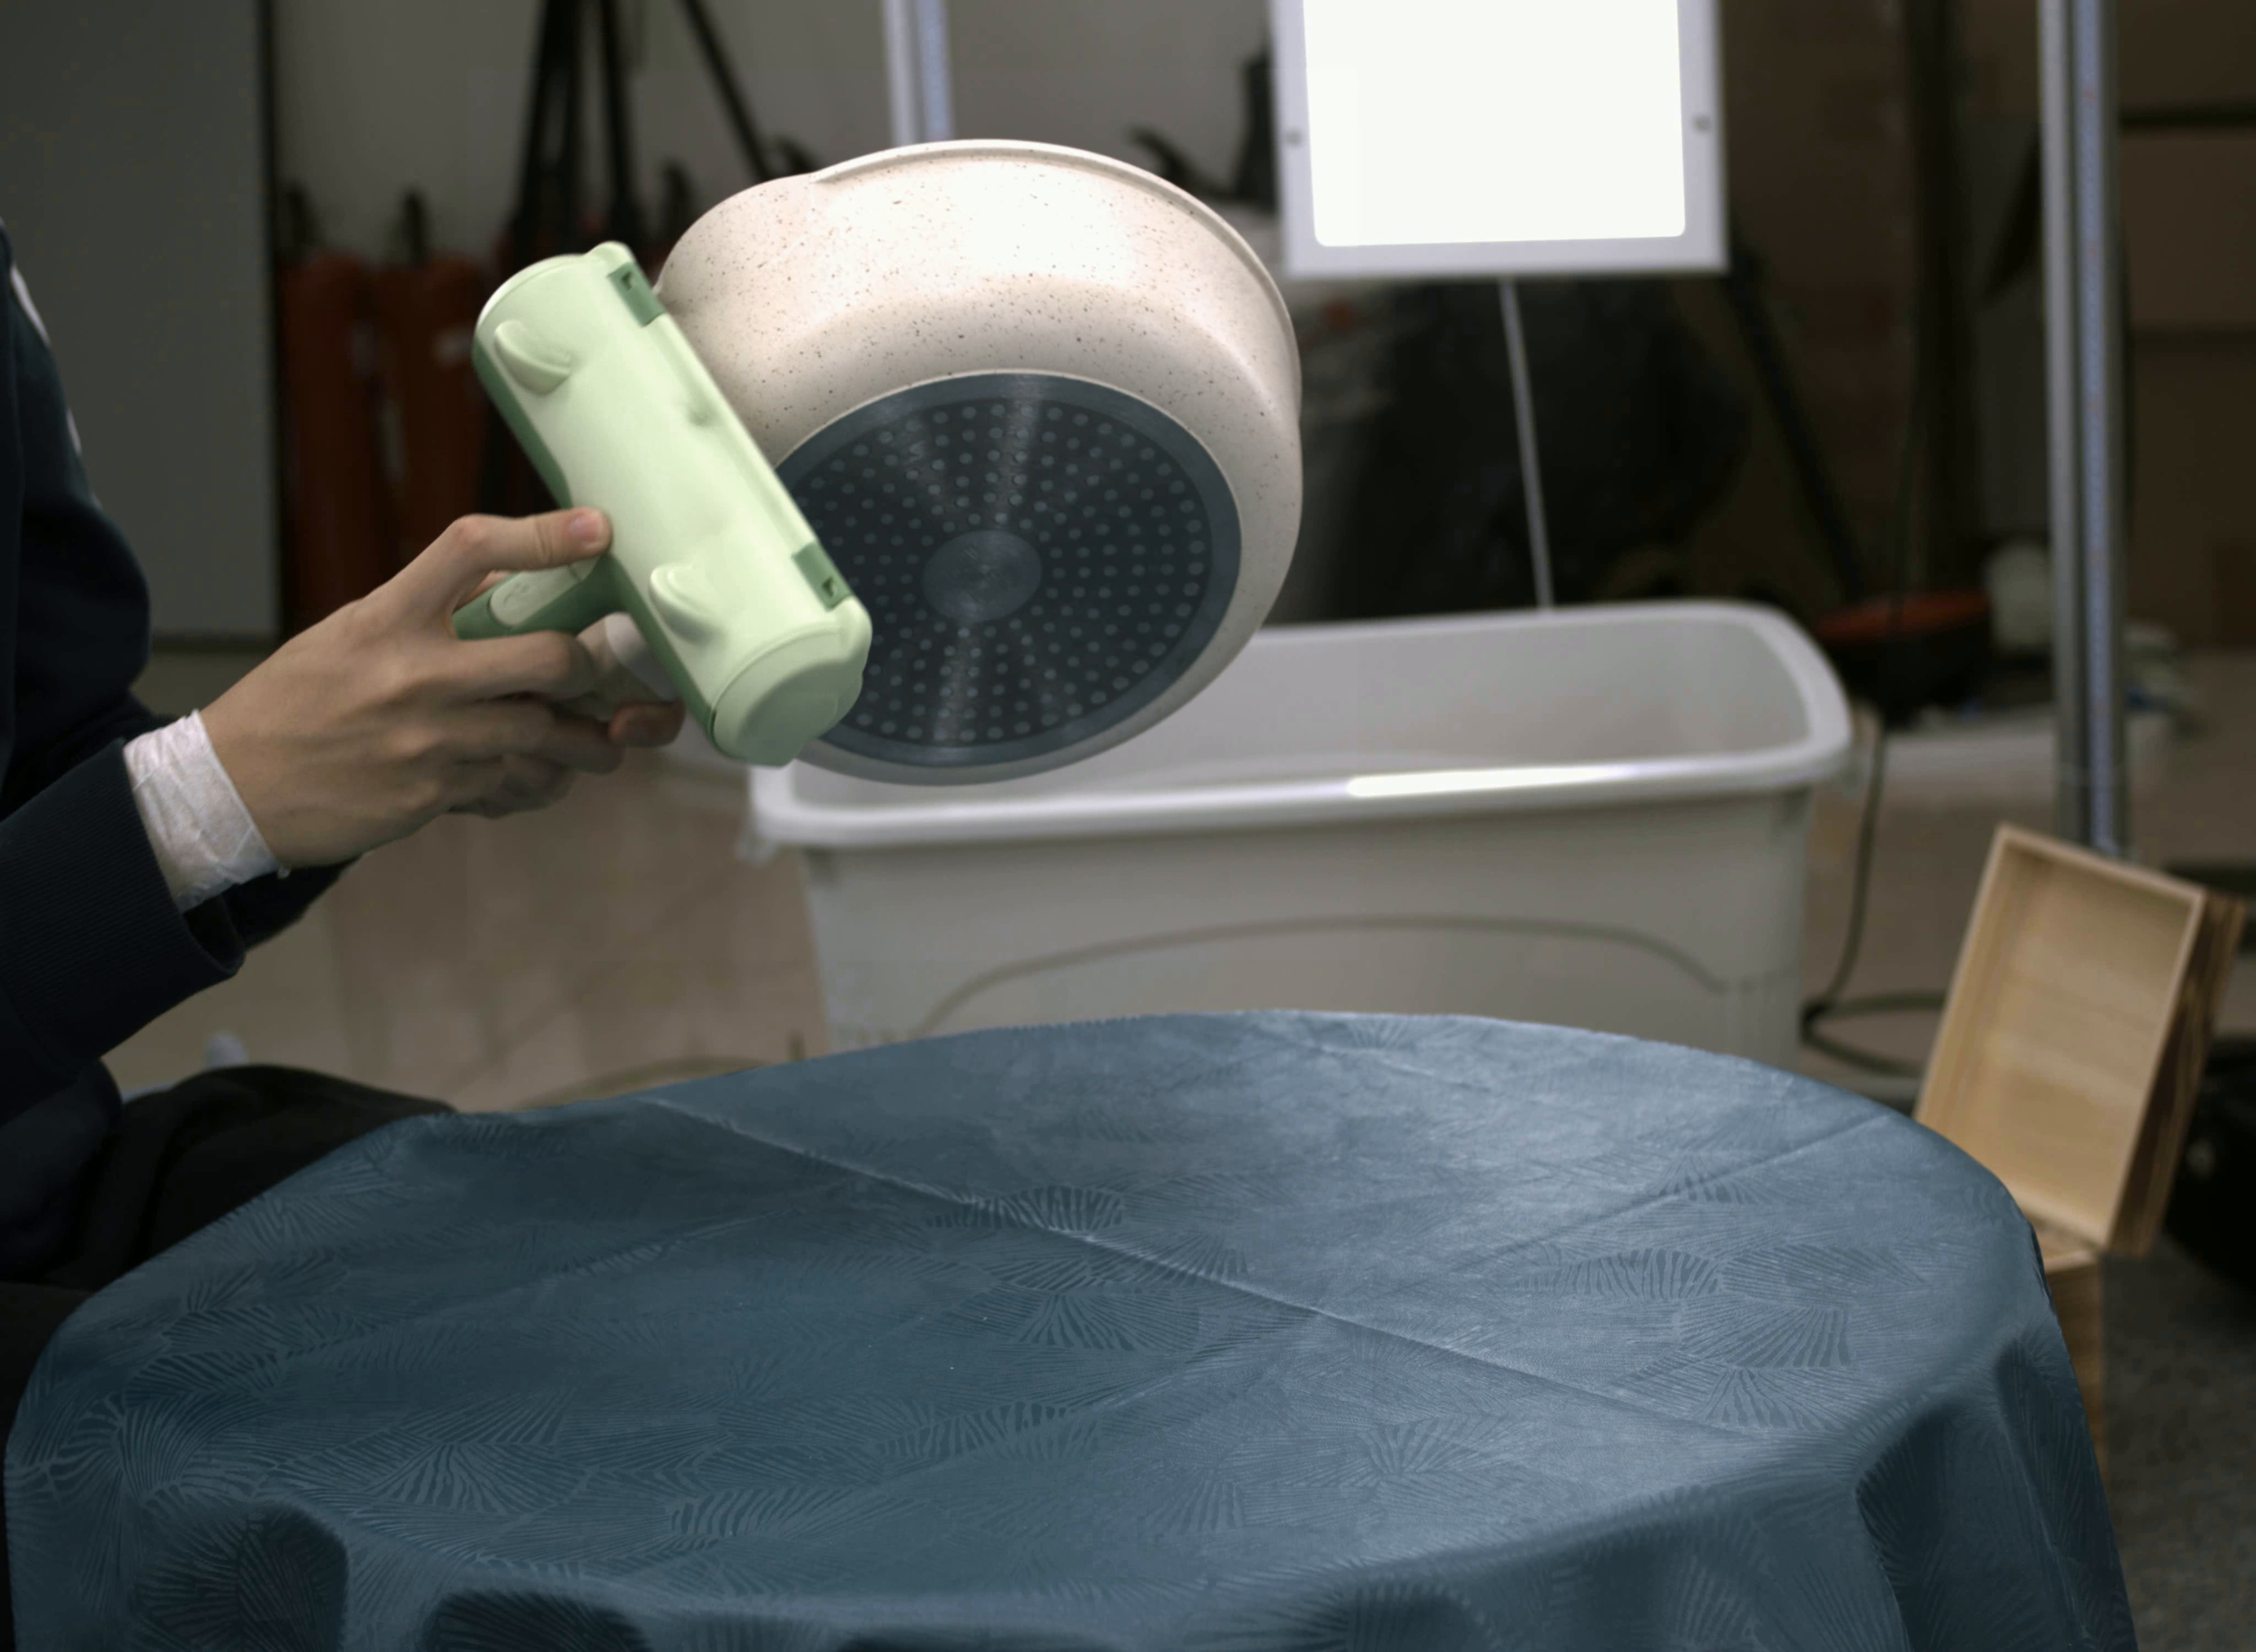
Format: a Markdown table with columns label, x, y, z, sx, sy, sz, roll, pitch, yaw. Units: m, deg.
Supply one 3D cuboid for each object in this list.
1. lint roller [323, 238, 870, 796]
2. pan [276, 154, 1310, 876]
| label | x | y | z | sx | sy | sz | roll | pitch | yaw |
| --- | --- | --- | --- | --- | --- | --- | --- | --- | --- |
| lint roller | -0.200 | -0.079 | 1.806 | 0.183 | 0.081 | 0.200 | -35 | 59 | 3 |
| pan | -0.129 | -0.069 | 1.950 | 0.441 | 0.259 | 0.102 | -32 | 44 | 21 |
